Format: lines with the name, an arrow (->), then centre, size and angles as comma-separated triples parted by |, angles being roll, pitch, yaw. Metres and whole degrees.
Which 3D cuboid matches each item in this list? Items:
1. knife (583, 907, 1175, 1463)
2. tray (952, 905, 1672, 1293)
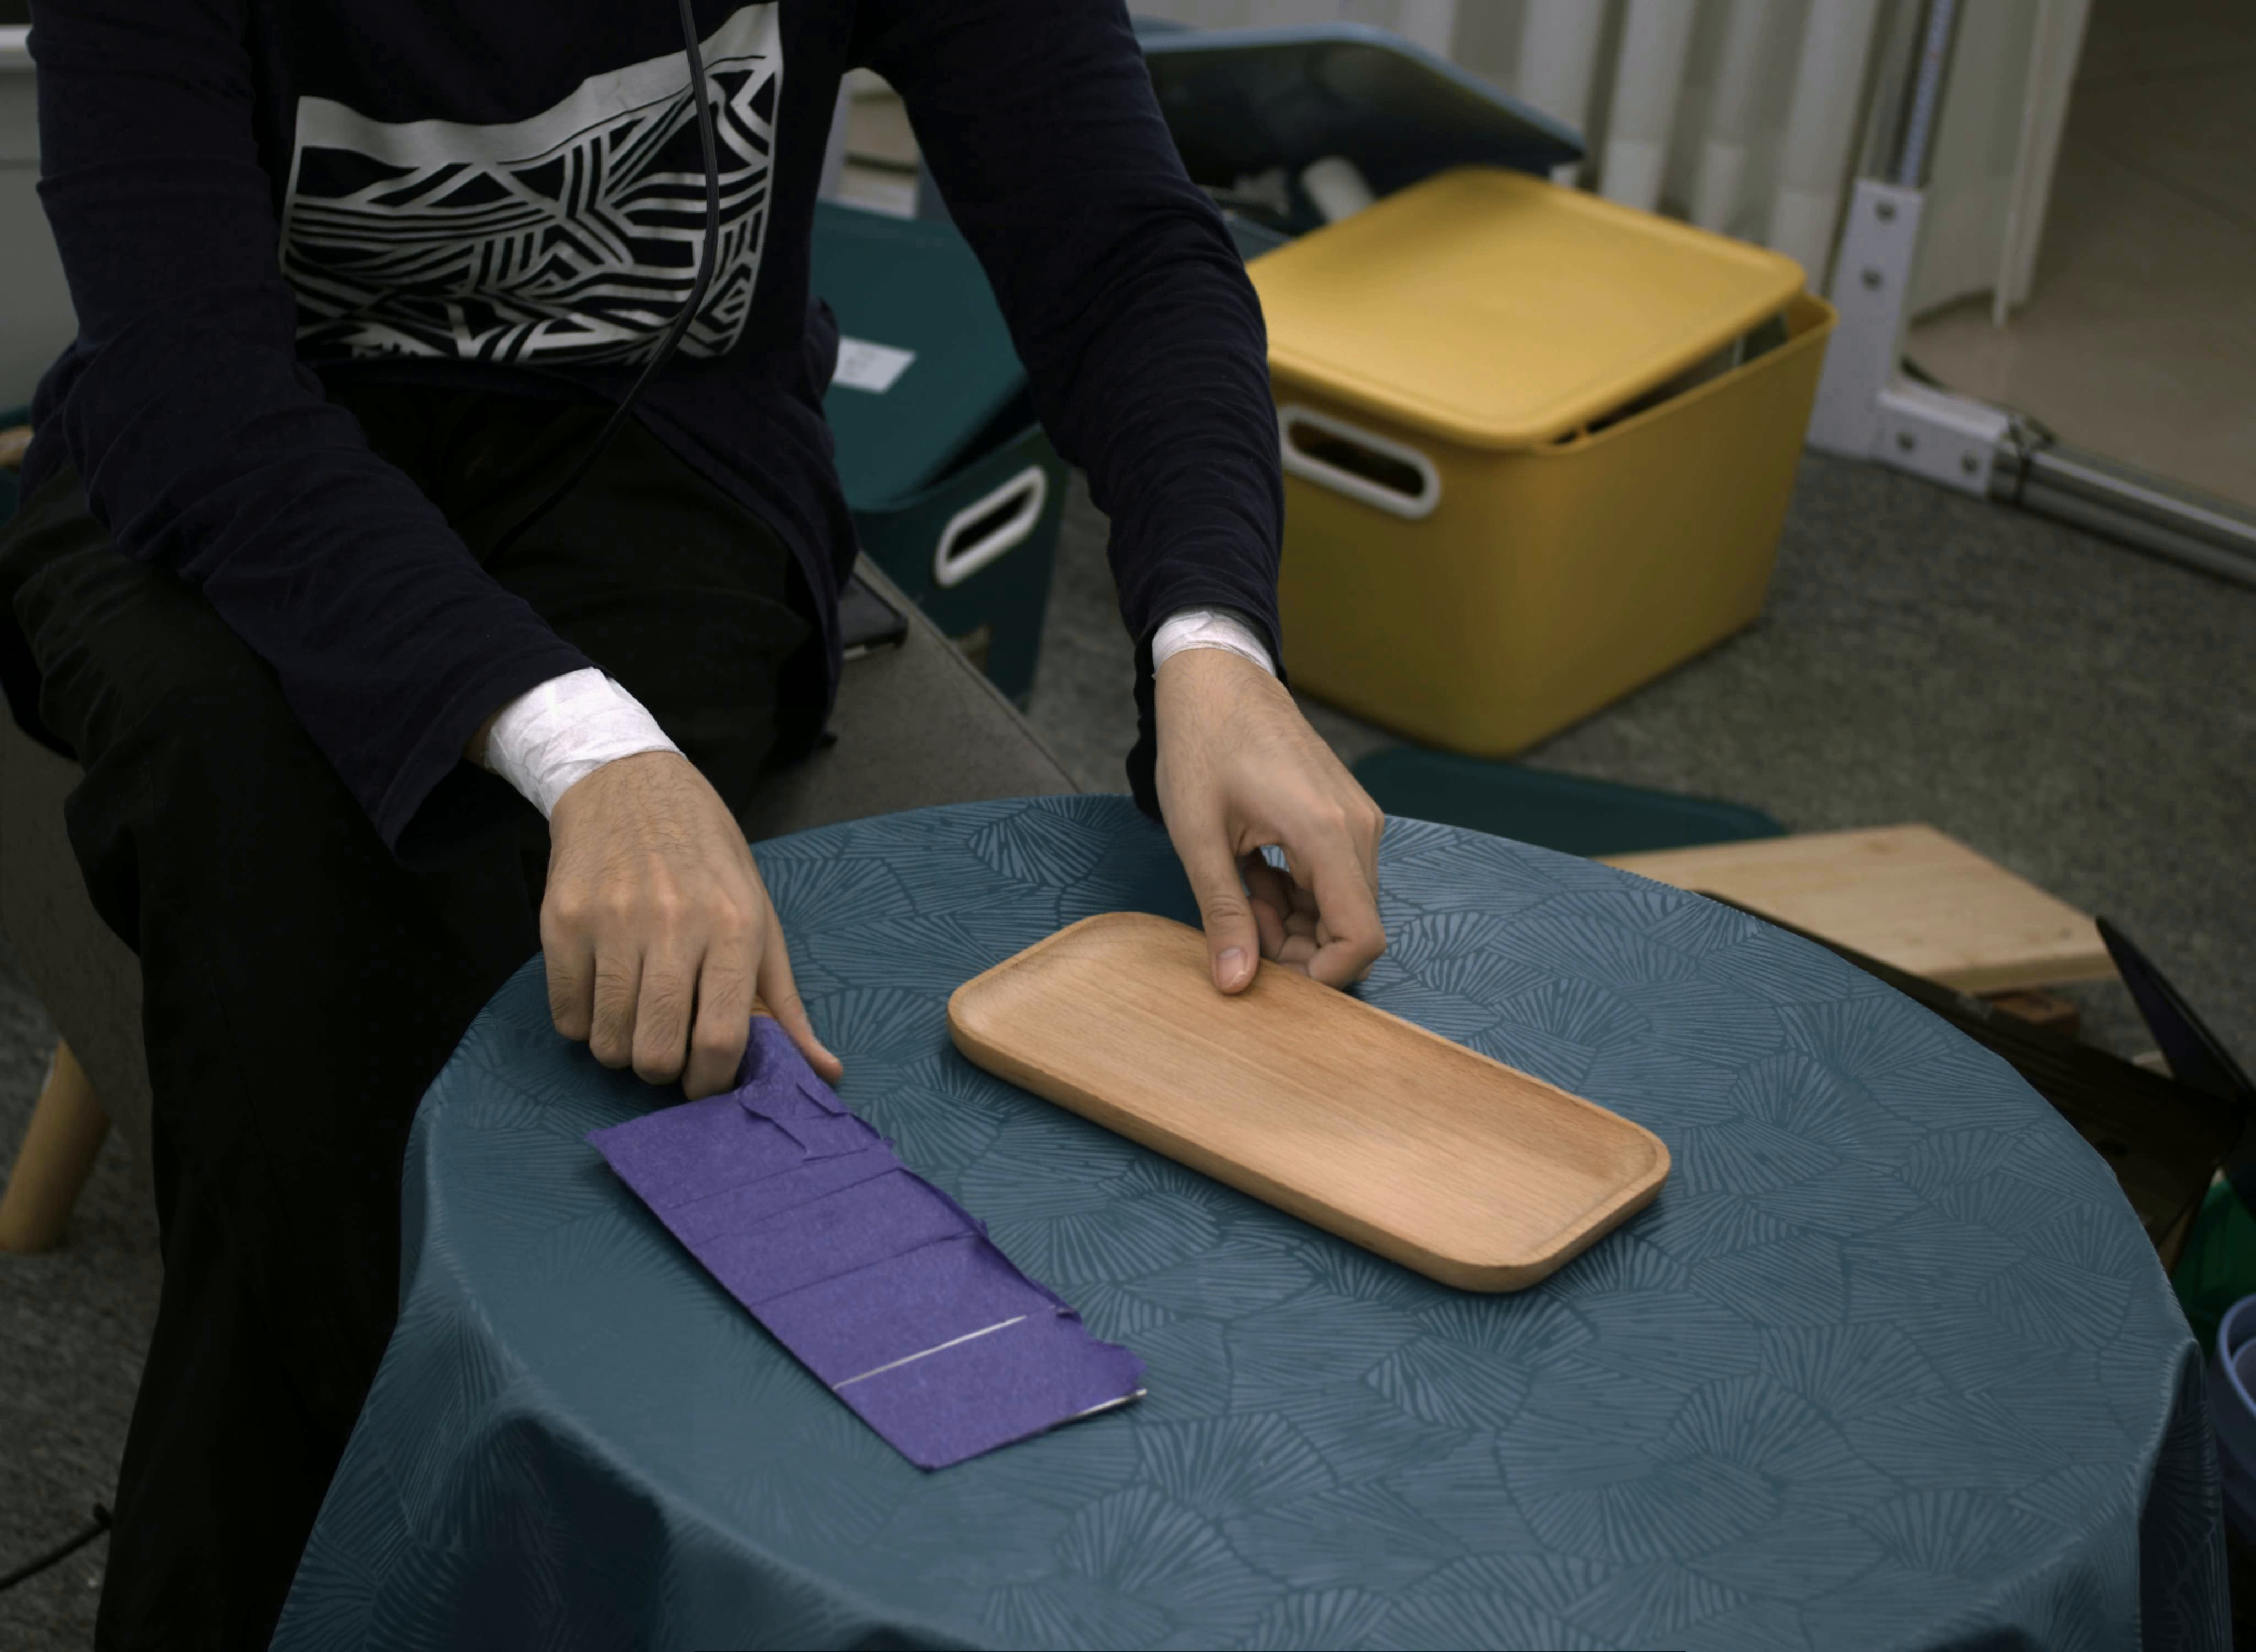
knife -> -0.115, 0.114, 1.767 | 0.103, 0.032, 0.318 | -14, 34, -33
tray -> 0.062, 0.093, 1.861 | 0.252, 0.023, 0.130 | 24, 29, 33
